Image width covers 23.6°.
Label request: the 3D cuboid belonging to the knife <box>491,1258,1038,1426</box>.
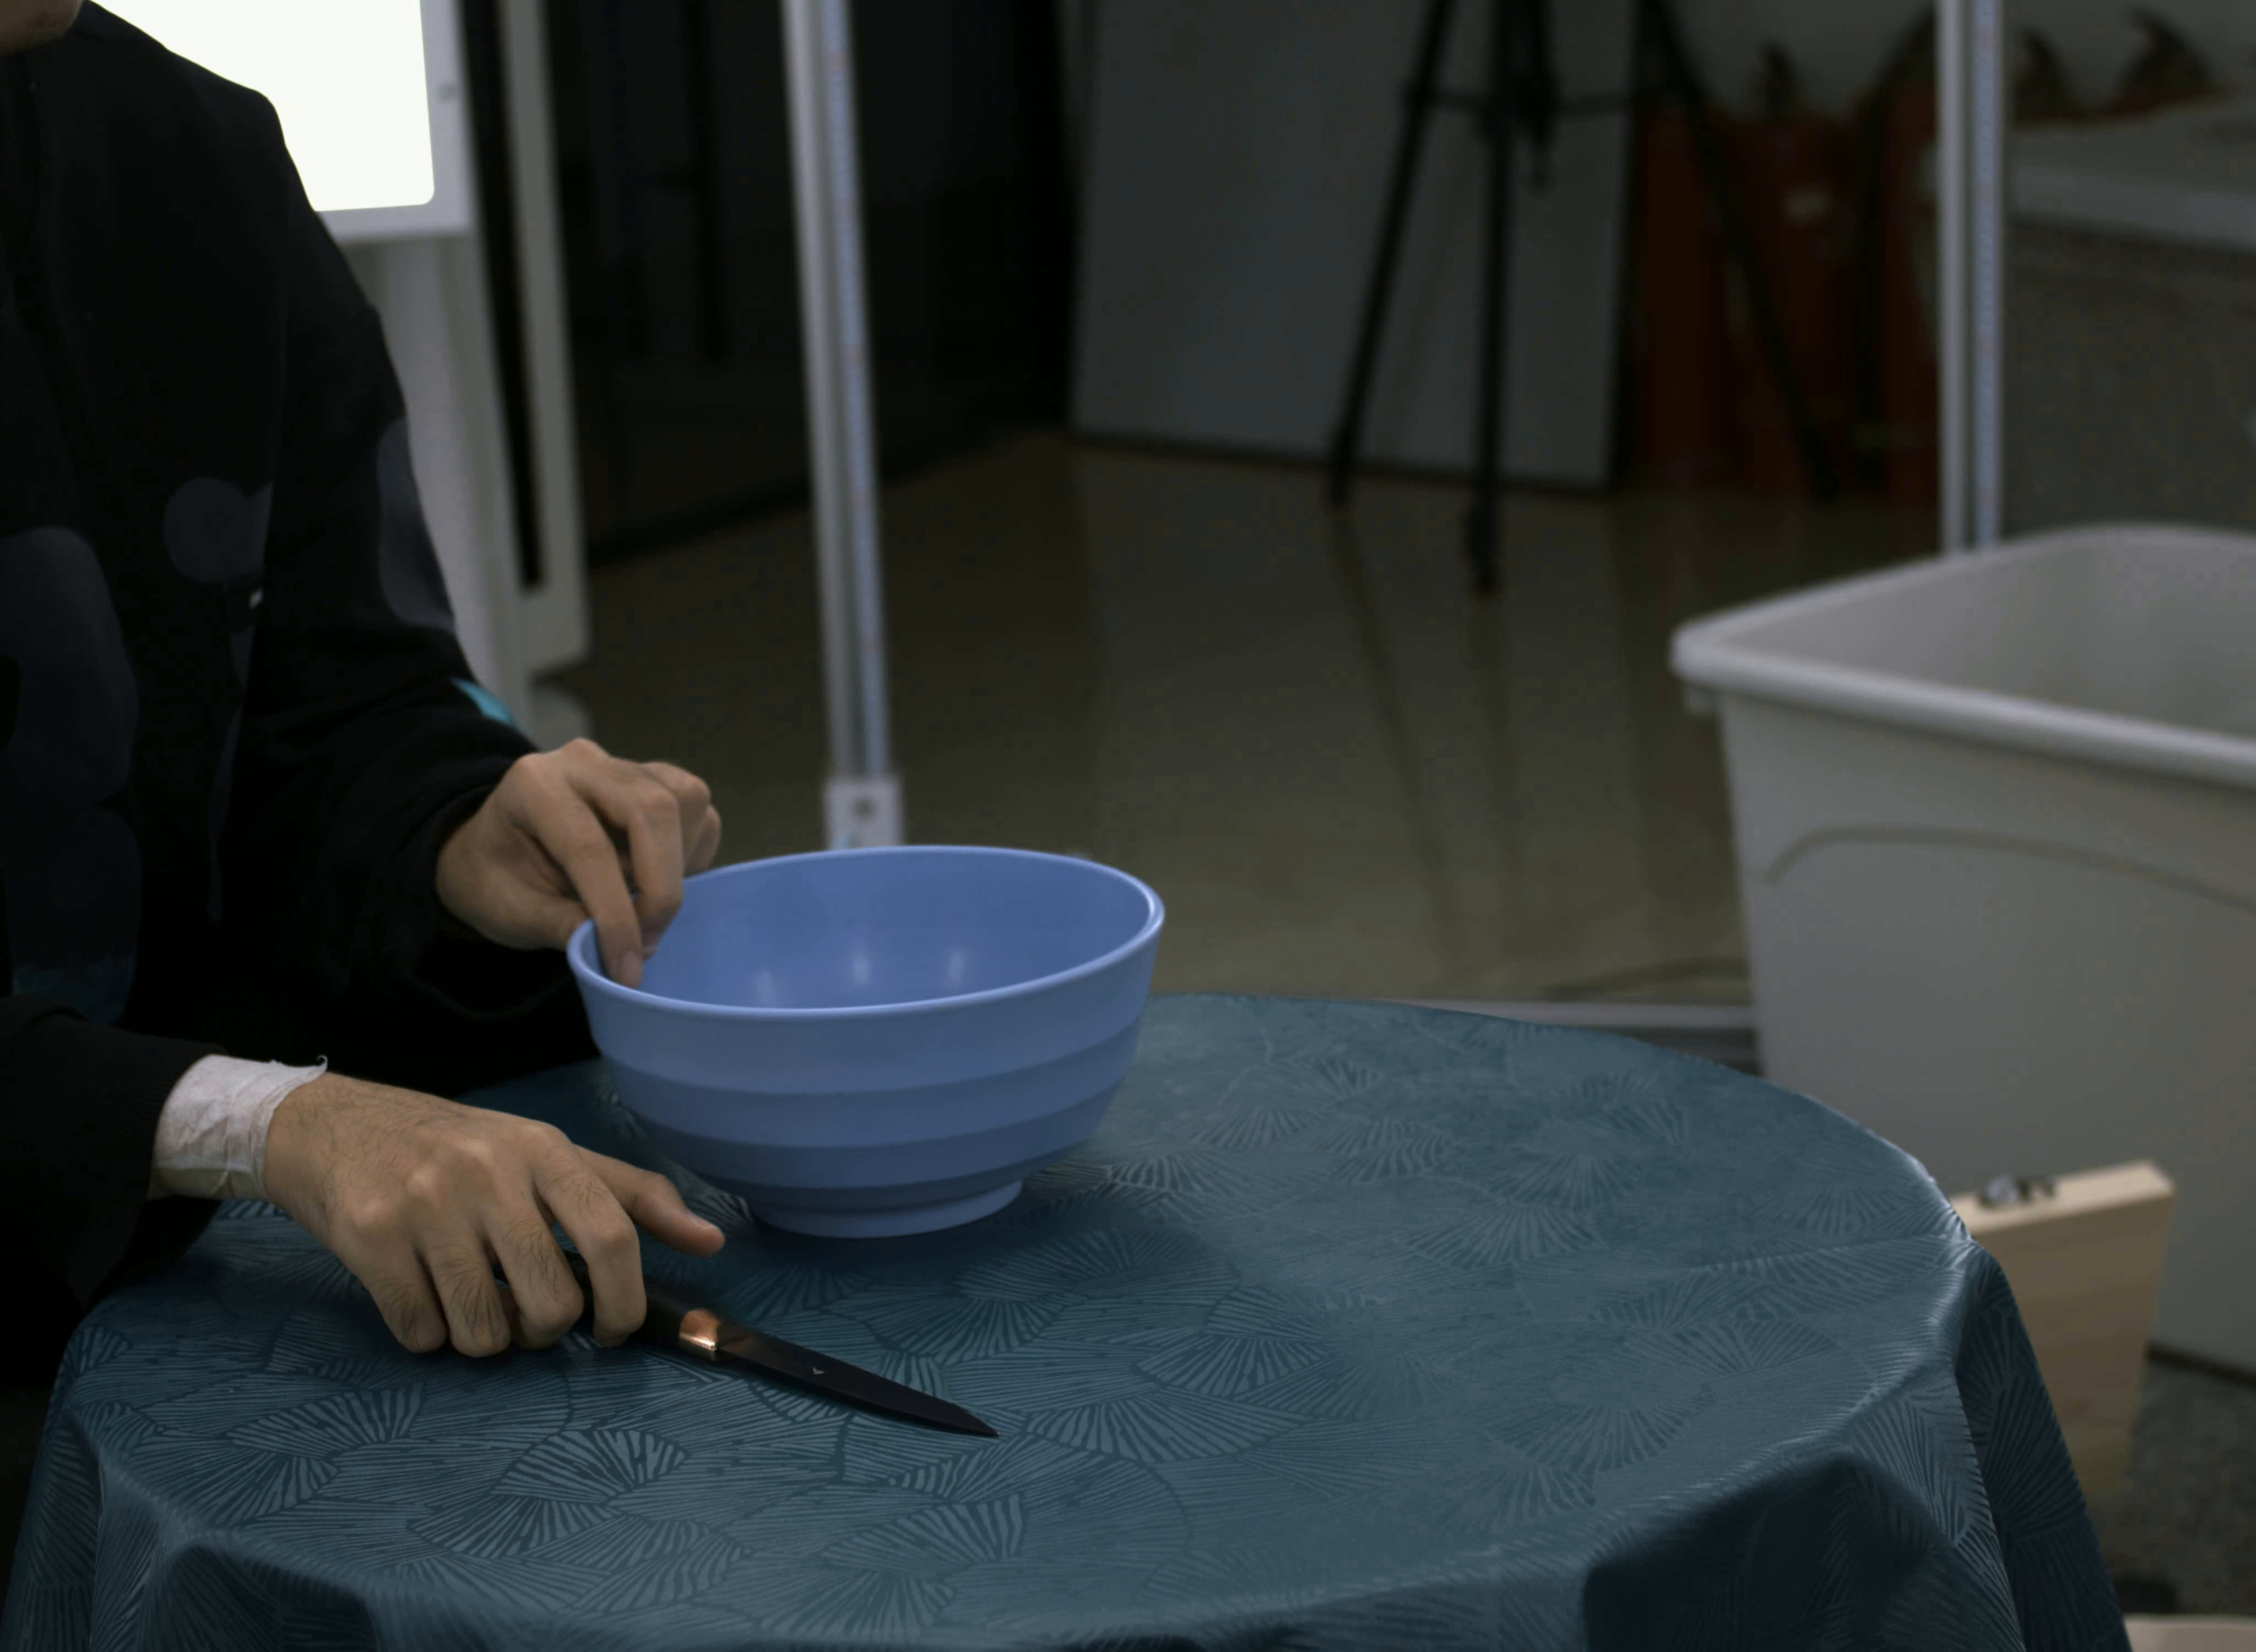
[{"bbox_3d":[-0.113,0.158,1.634,0.227,0.017,0.025,11,14,42],"label":"knife"}]

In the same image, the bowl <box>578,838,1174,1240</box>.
[{"bbox_3d":[-0.081,0.076,1.770,0.194,0.096,0.197,-2,15,0],"label":"bowl"}]
